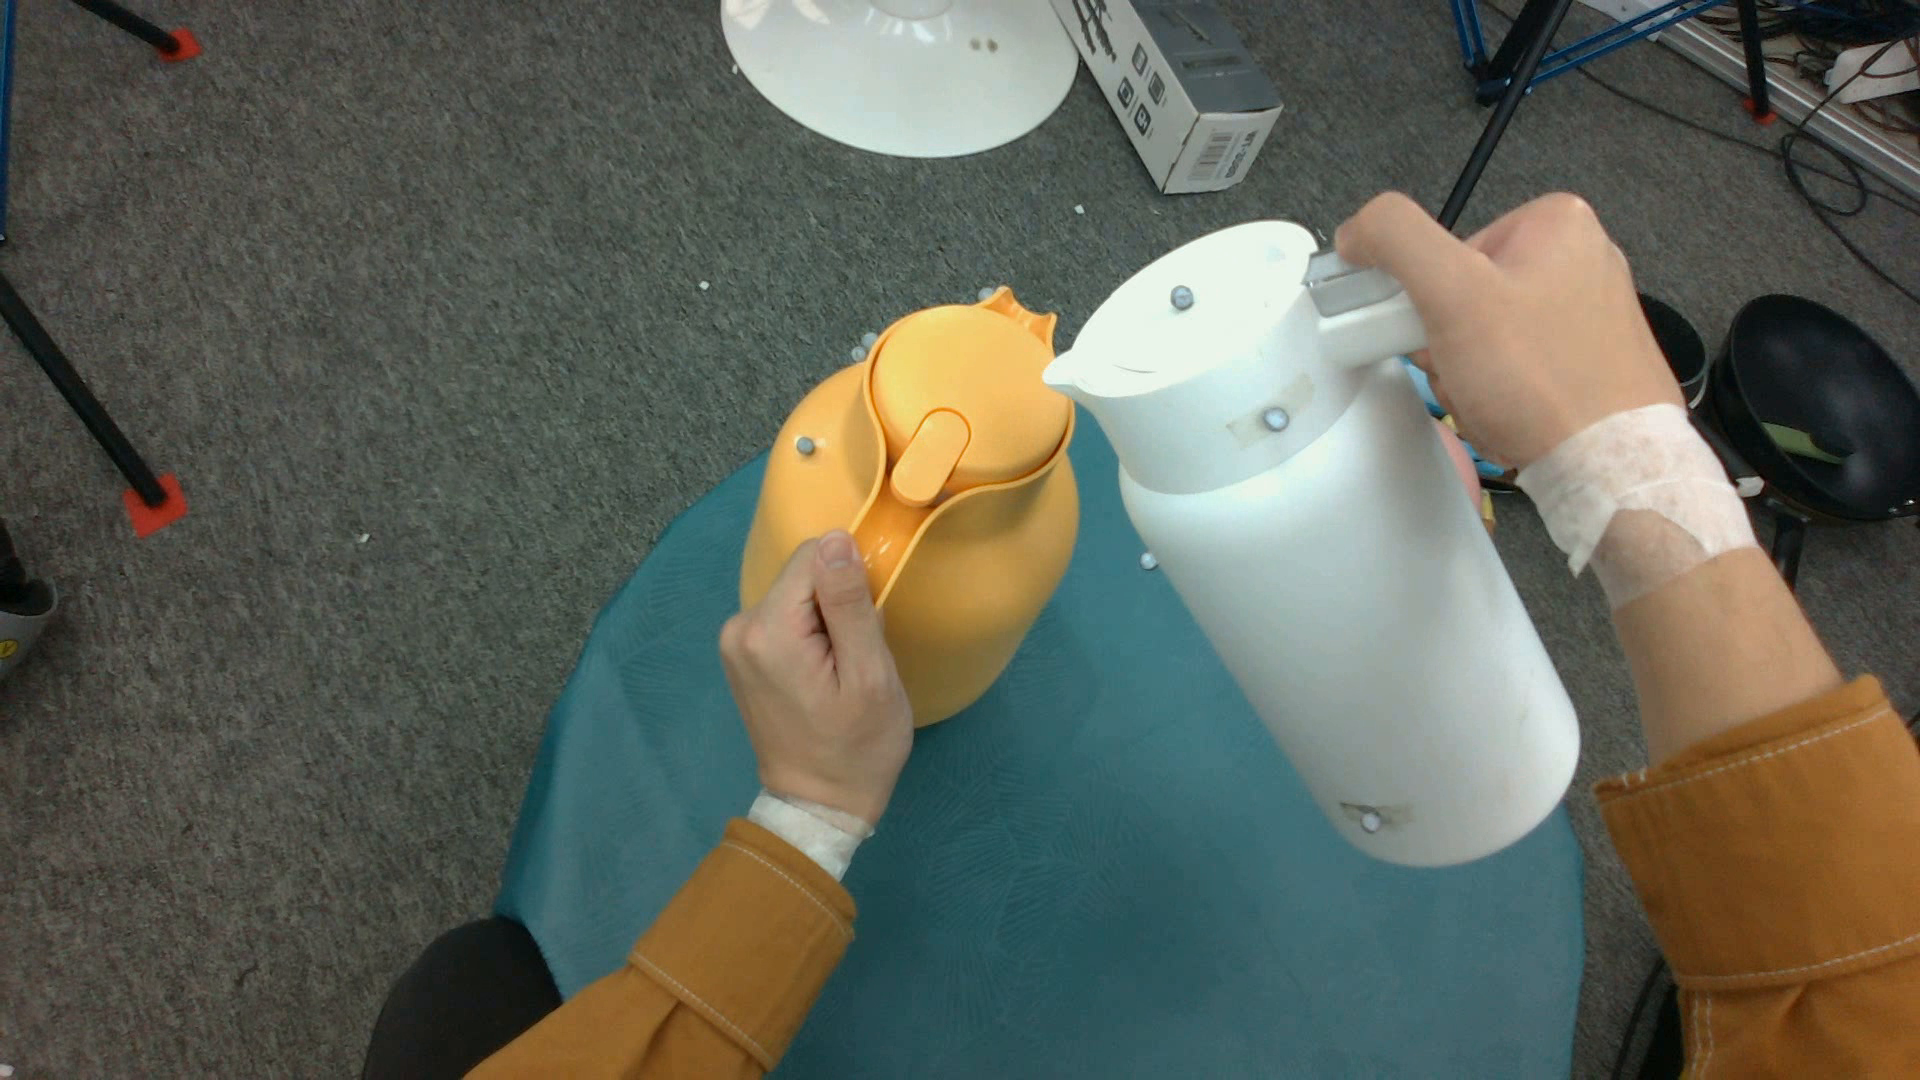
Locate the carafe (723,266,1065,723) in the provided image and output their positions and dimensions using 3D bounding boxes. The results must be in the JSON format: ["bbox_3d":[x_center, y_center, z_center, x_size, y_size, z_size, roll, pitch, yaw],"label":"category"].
[{"bbox_3d":[-0.040,-0.007,0.693,0.163,0.259,0.203,30,57,4],"label":"carafe"}]

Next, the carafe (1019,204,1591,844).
[{"bbox_3d":[0.158,-0.004,0.551,0.268,0.172,0.124,55,41,-27],"label":"carafe"}]
